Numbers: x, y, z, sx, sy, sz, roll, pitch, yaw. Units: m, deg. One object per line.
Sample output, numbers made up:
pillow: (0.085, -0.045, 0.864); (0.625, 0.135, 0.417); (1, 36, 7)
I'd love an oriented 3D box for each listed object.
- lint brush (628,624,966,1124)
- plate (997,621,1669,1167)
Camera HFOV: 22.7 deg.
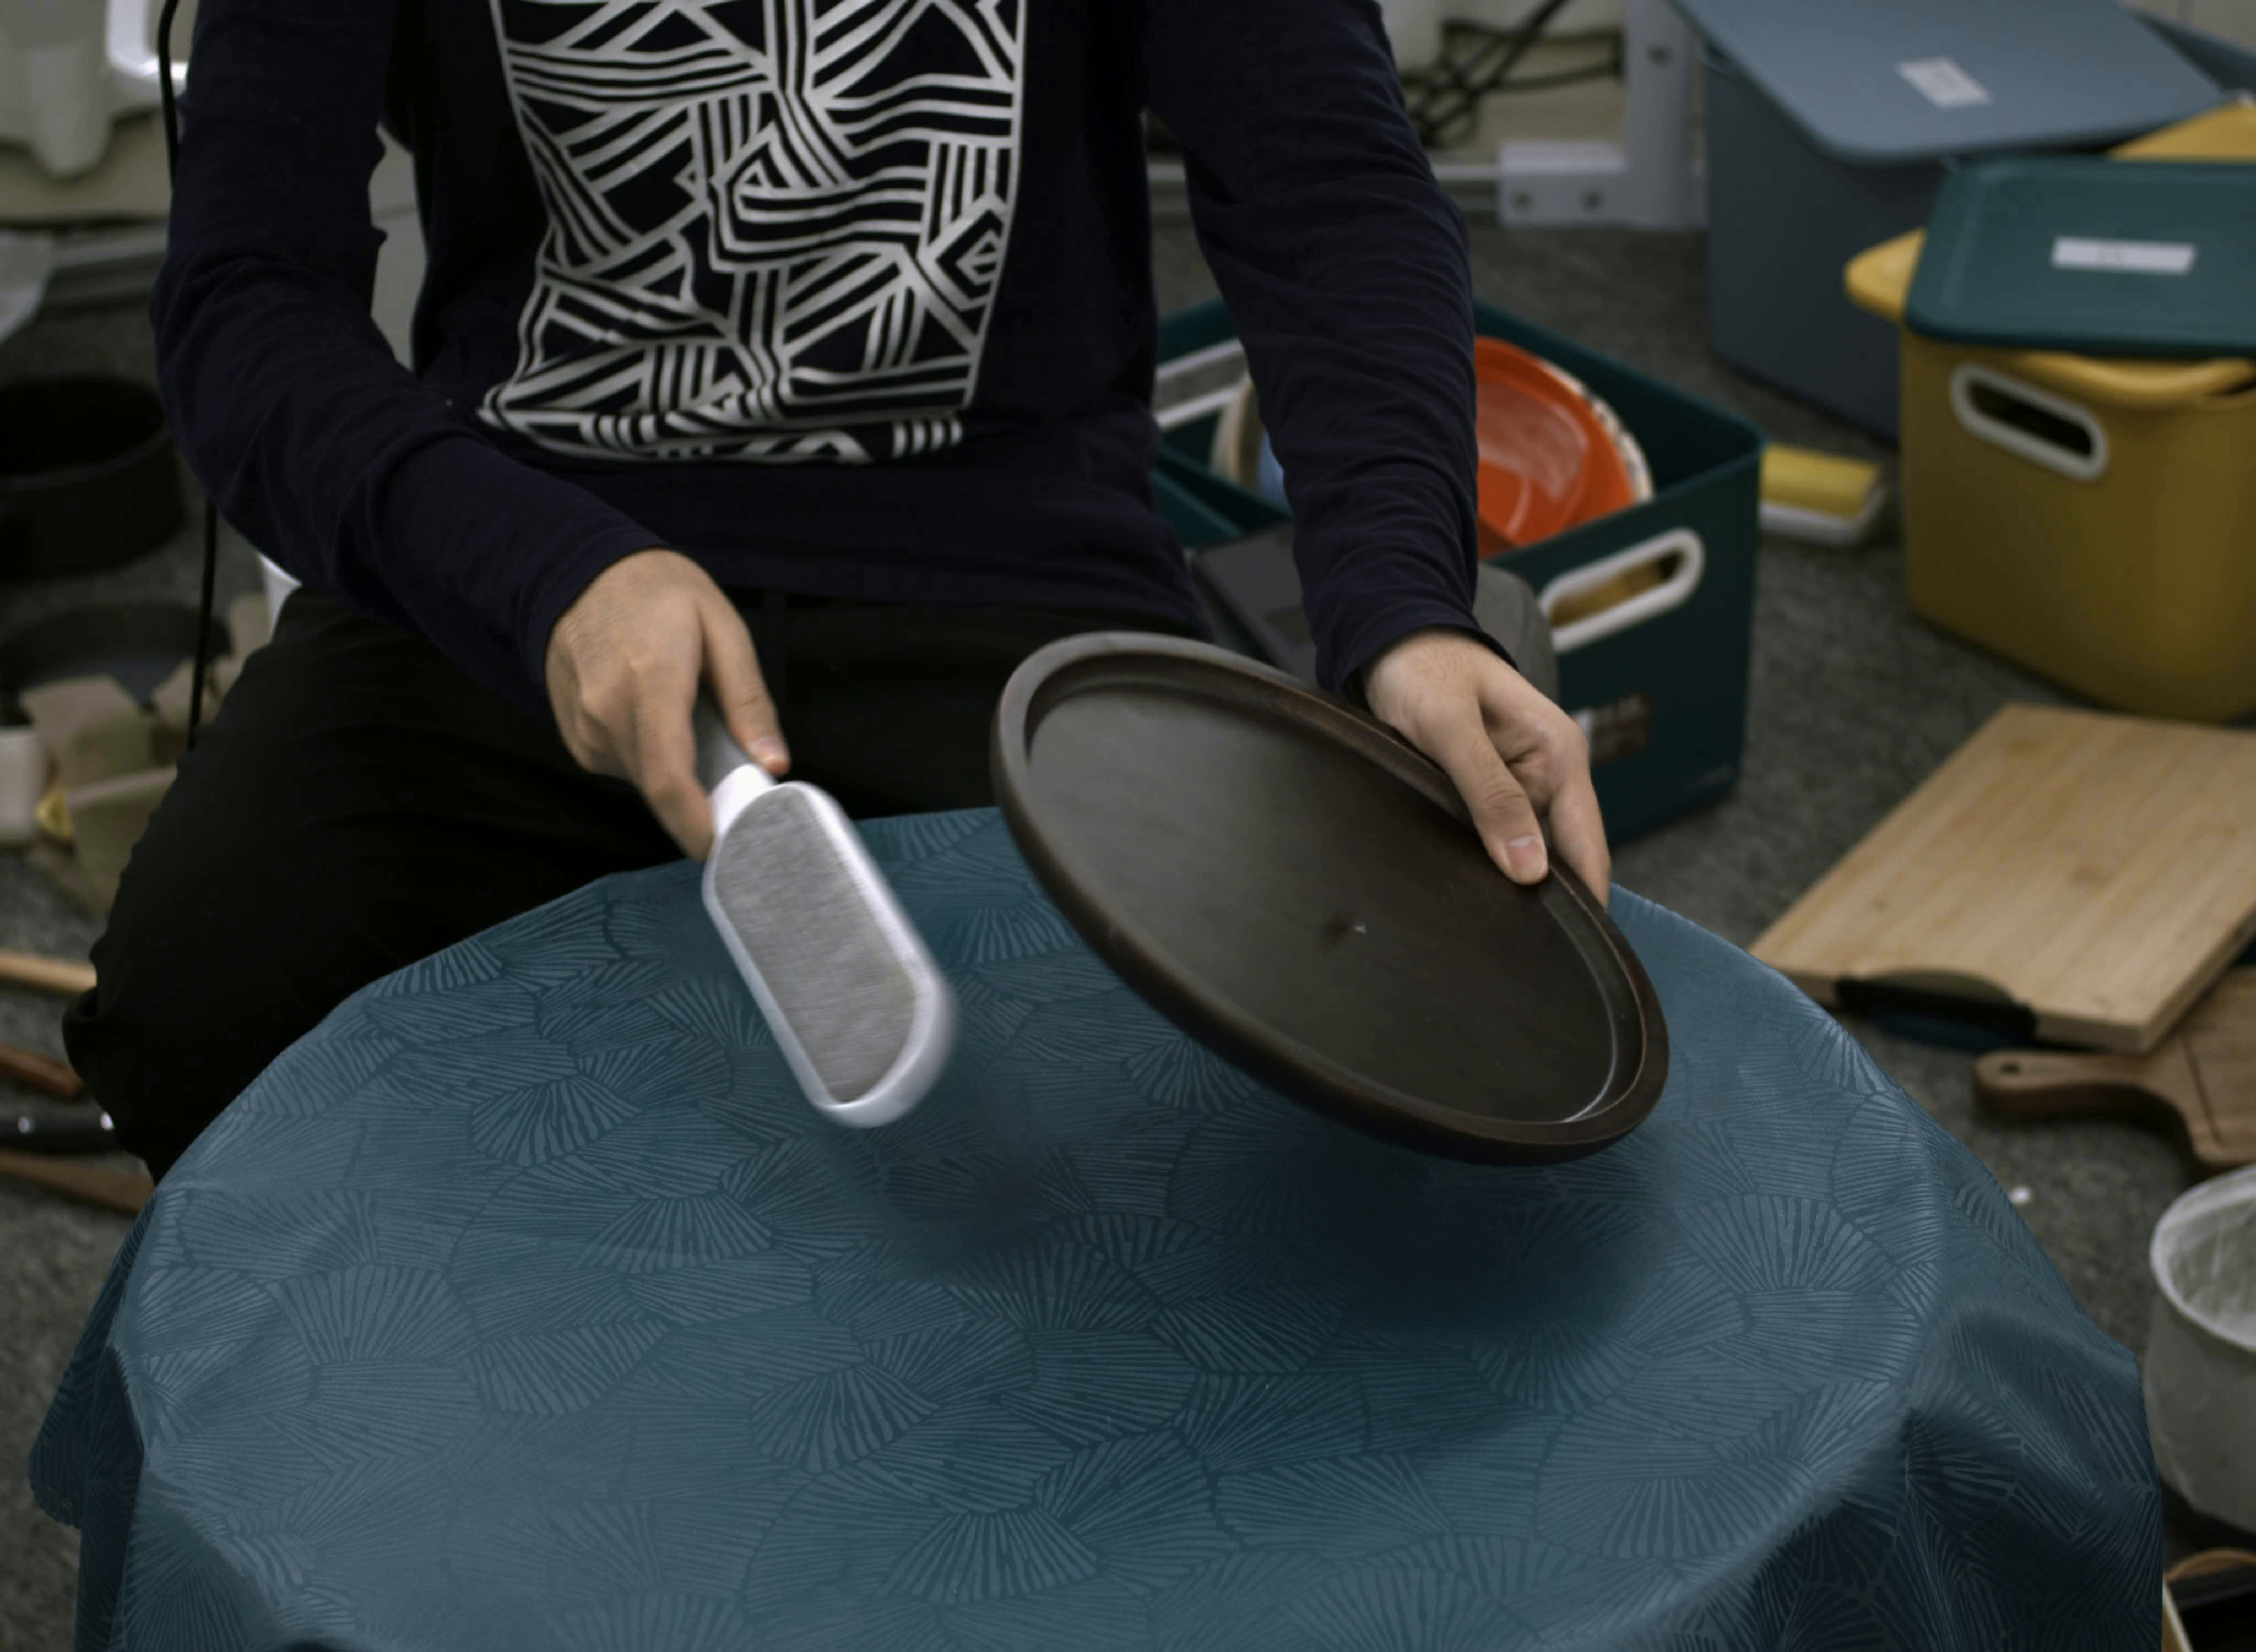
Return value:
lint brush: (-0.120, 0.008, 1.943); (0.021, 0.060, 0.312); (30, 14, -34)
plate: (0.065, 0.021, 1.828); (0.254, 0.028, 0.259); (29, 25, -14)
